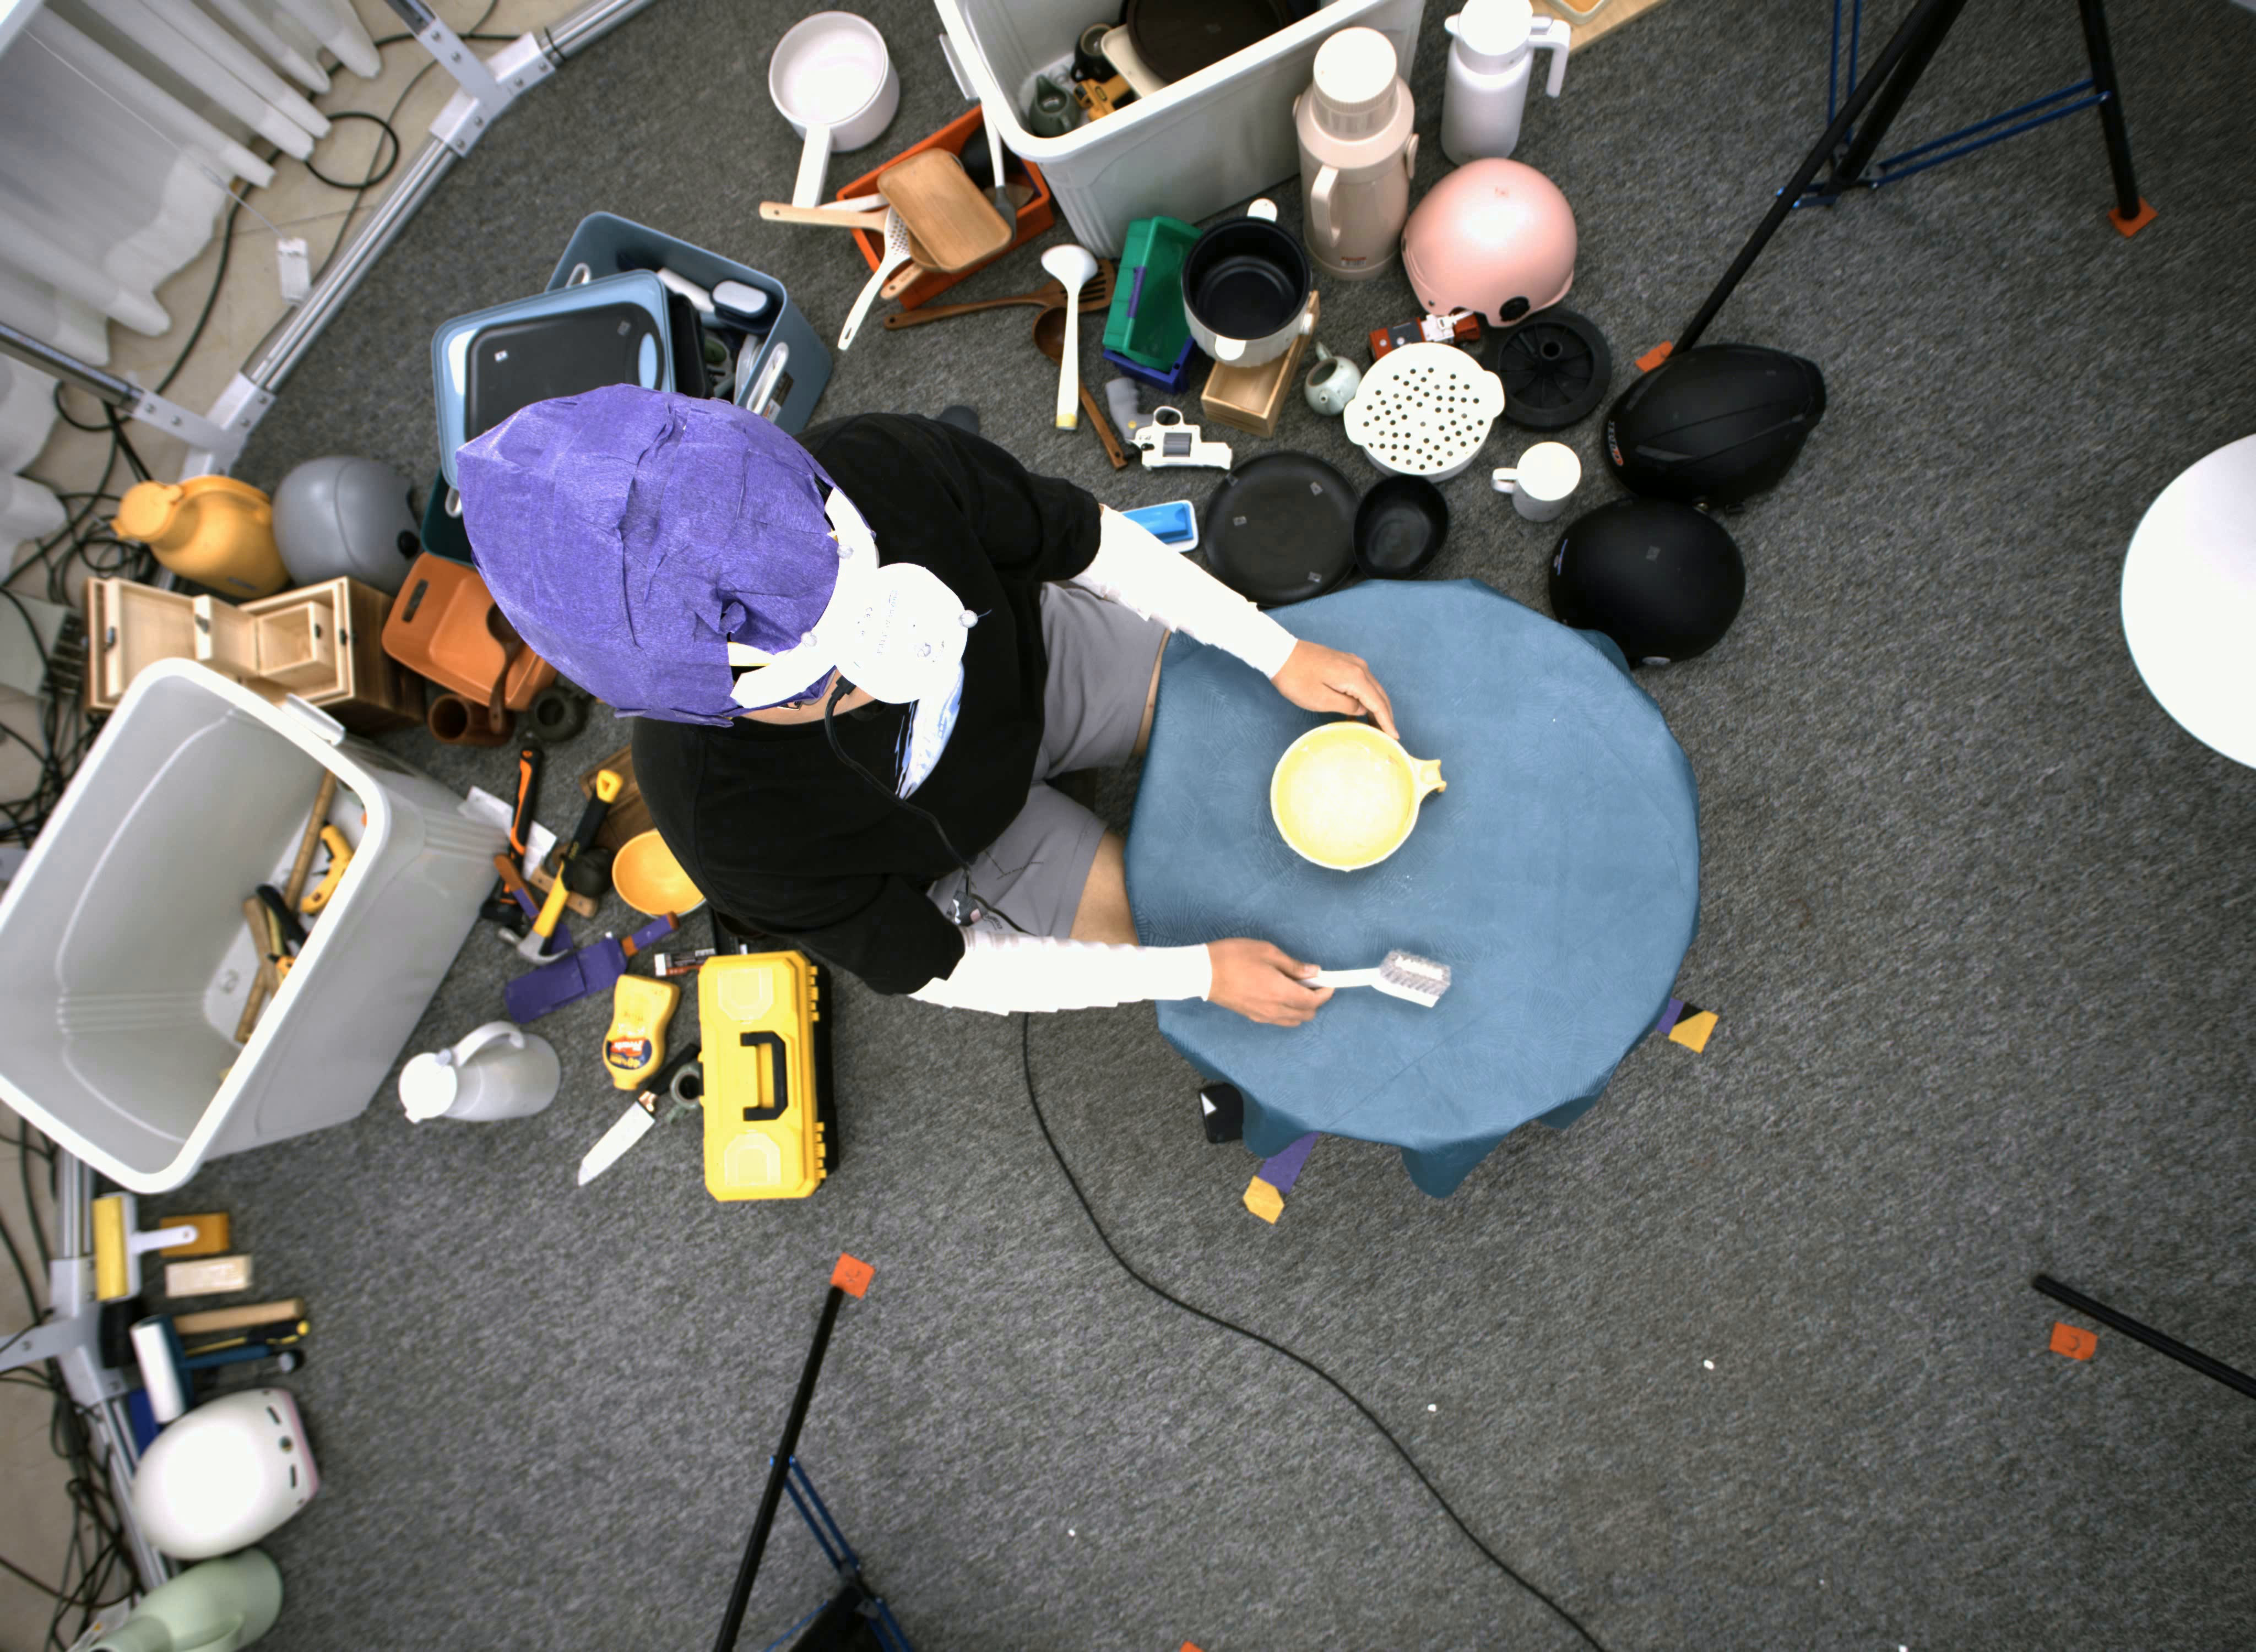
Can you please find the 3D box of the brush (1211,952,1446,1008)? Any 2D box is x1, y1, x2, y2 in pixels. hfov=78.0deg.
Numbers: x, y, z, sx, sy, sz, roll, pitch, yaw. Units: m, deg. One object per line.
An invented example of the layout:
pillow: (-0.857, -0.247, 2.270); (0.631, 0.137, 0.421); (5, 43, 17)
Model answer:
brush: (0.203, 0.146, 1.423); (0.244, 0.033, 0.051); (5, 132, 16)

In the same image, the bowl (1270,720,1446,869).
bowl: (0.239, -0.032, 1.435); (0.180, 0.074, 0.151); (-17, 80, 9)
